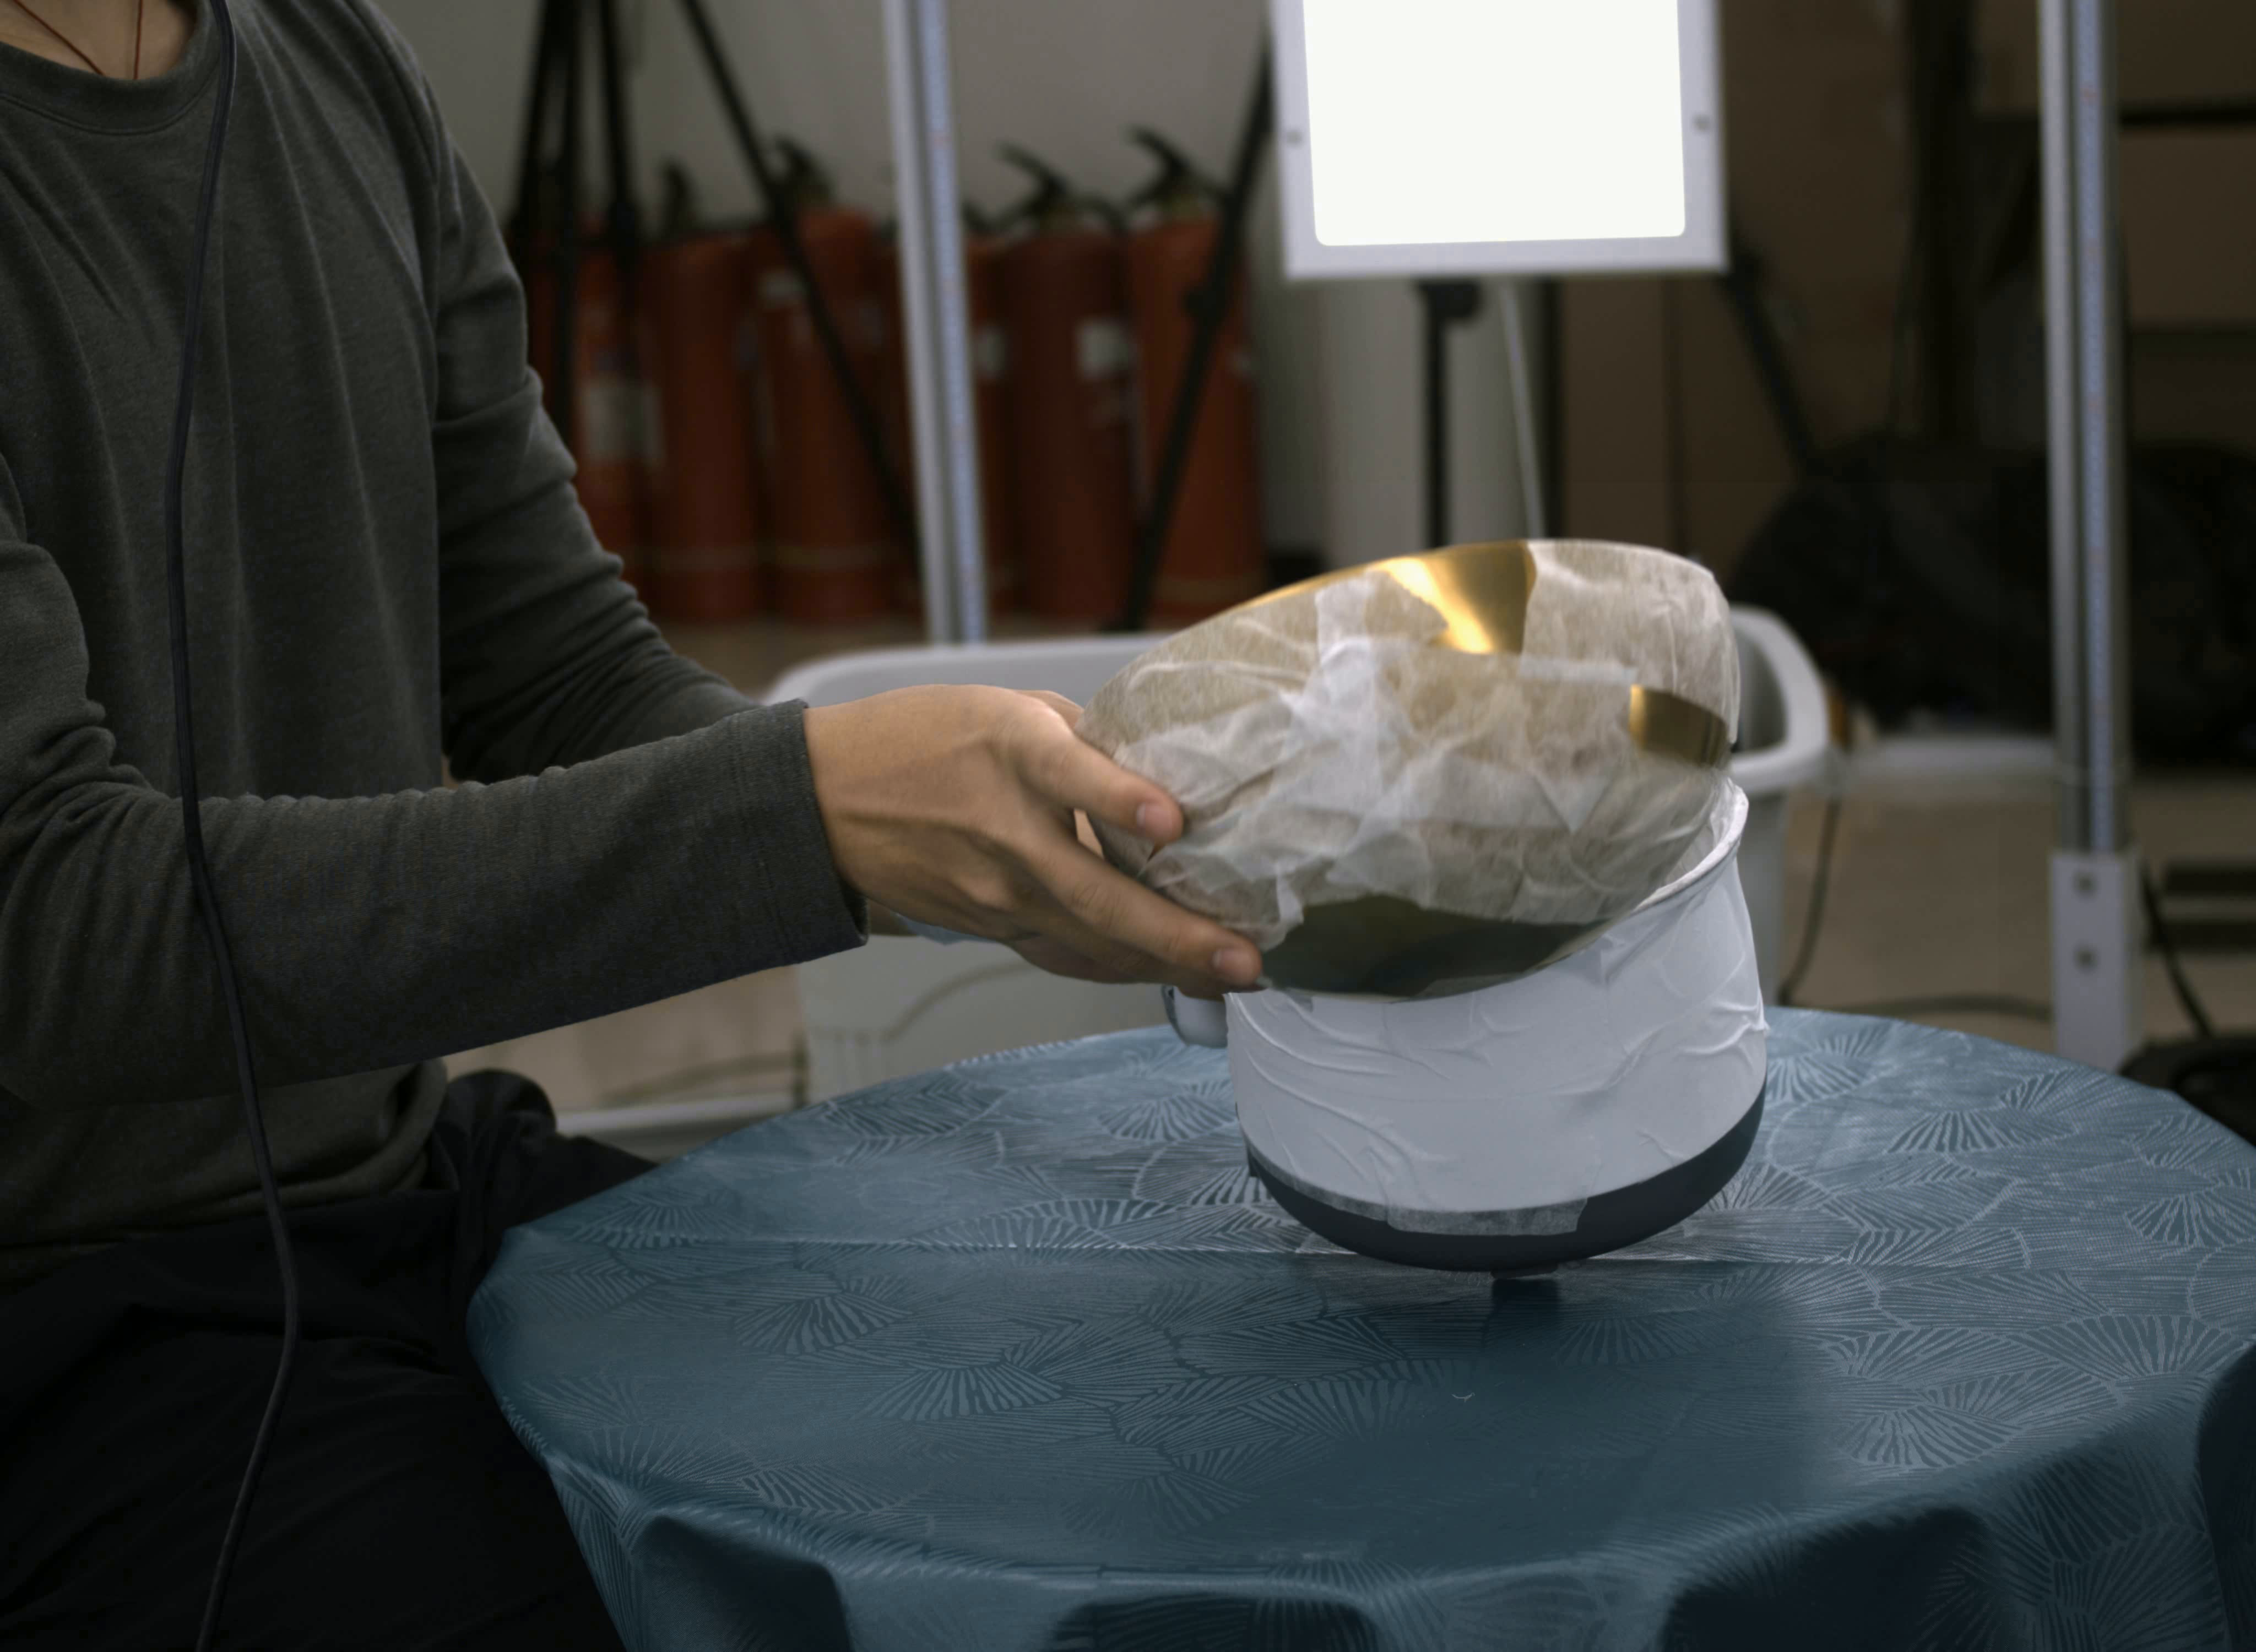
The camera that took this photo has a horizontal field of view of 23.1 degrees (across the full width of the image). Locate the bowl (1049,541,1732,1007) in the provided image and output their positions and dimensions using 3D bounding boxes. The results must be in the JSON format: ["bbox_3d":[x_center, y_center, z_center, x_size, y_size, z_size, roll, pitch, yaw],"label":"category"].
[{"bbox_3d":[0.085,-0.001,1.625,0.213,0.095,0.215,-11,-18,-5],"label":"bowl"}]

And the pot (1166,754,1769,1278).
[{"bbox_3d":[0.101,0.049,1.828,0.238,0.137,0.174,16,34,42],"label":"pot"}]
